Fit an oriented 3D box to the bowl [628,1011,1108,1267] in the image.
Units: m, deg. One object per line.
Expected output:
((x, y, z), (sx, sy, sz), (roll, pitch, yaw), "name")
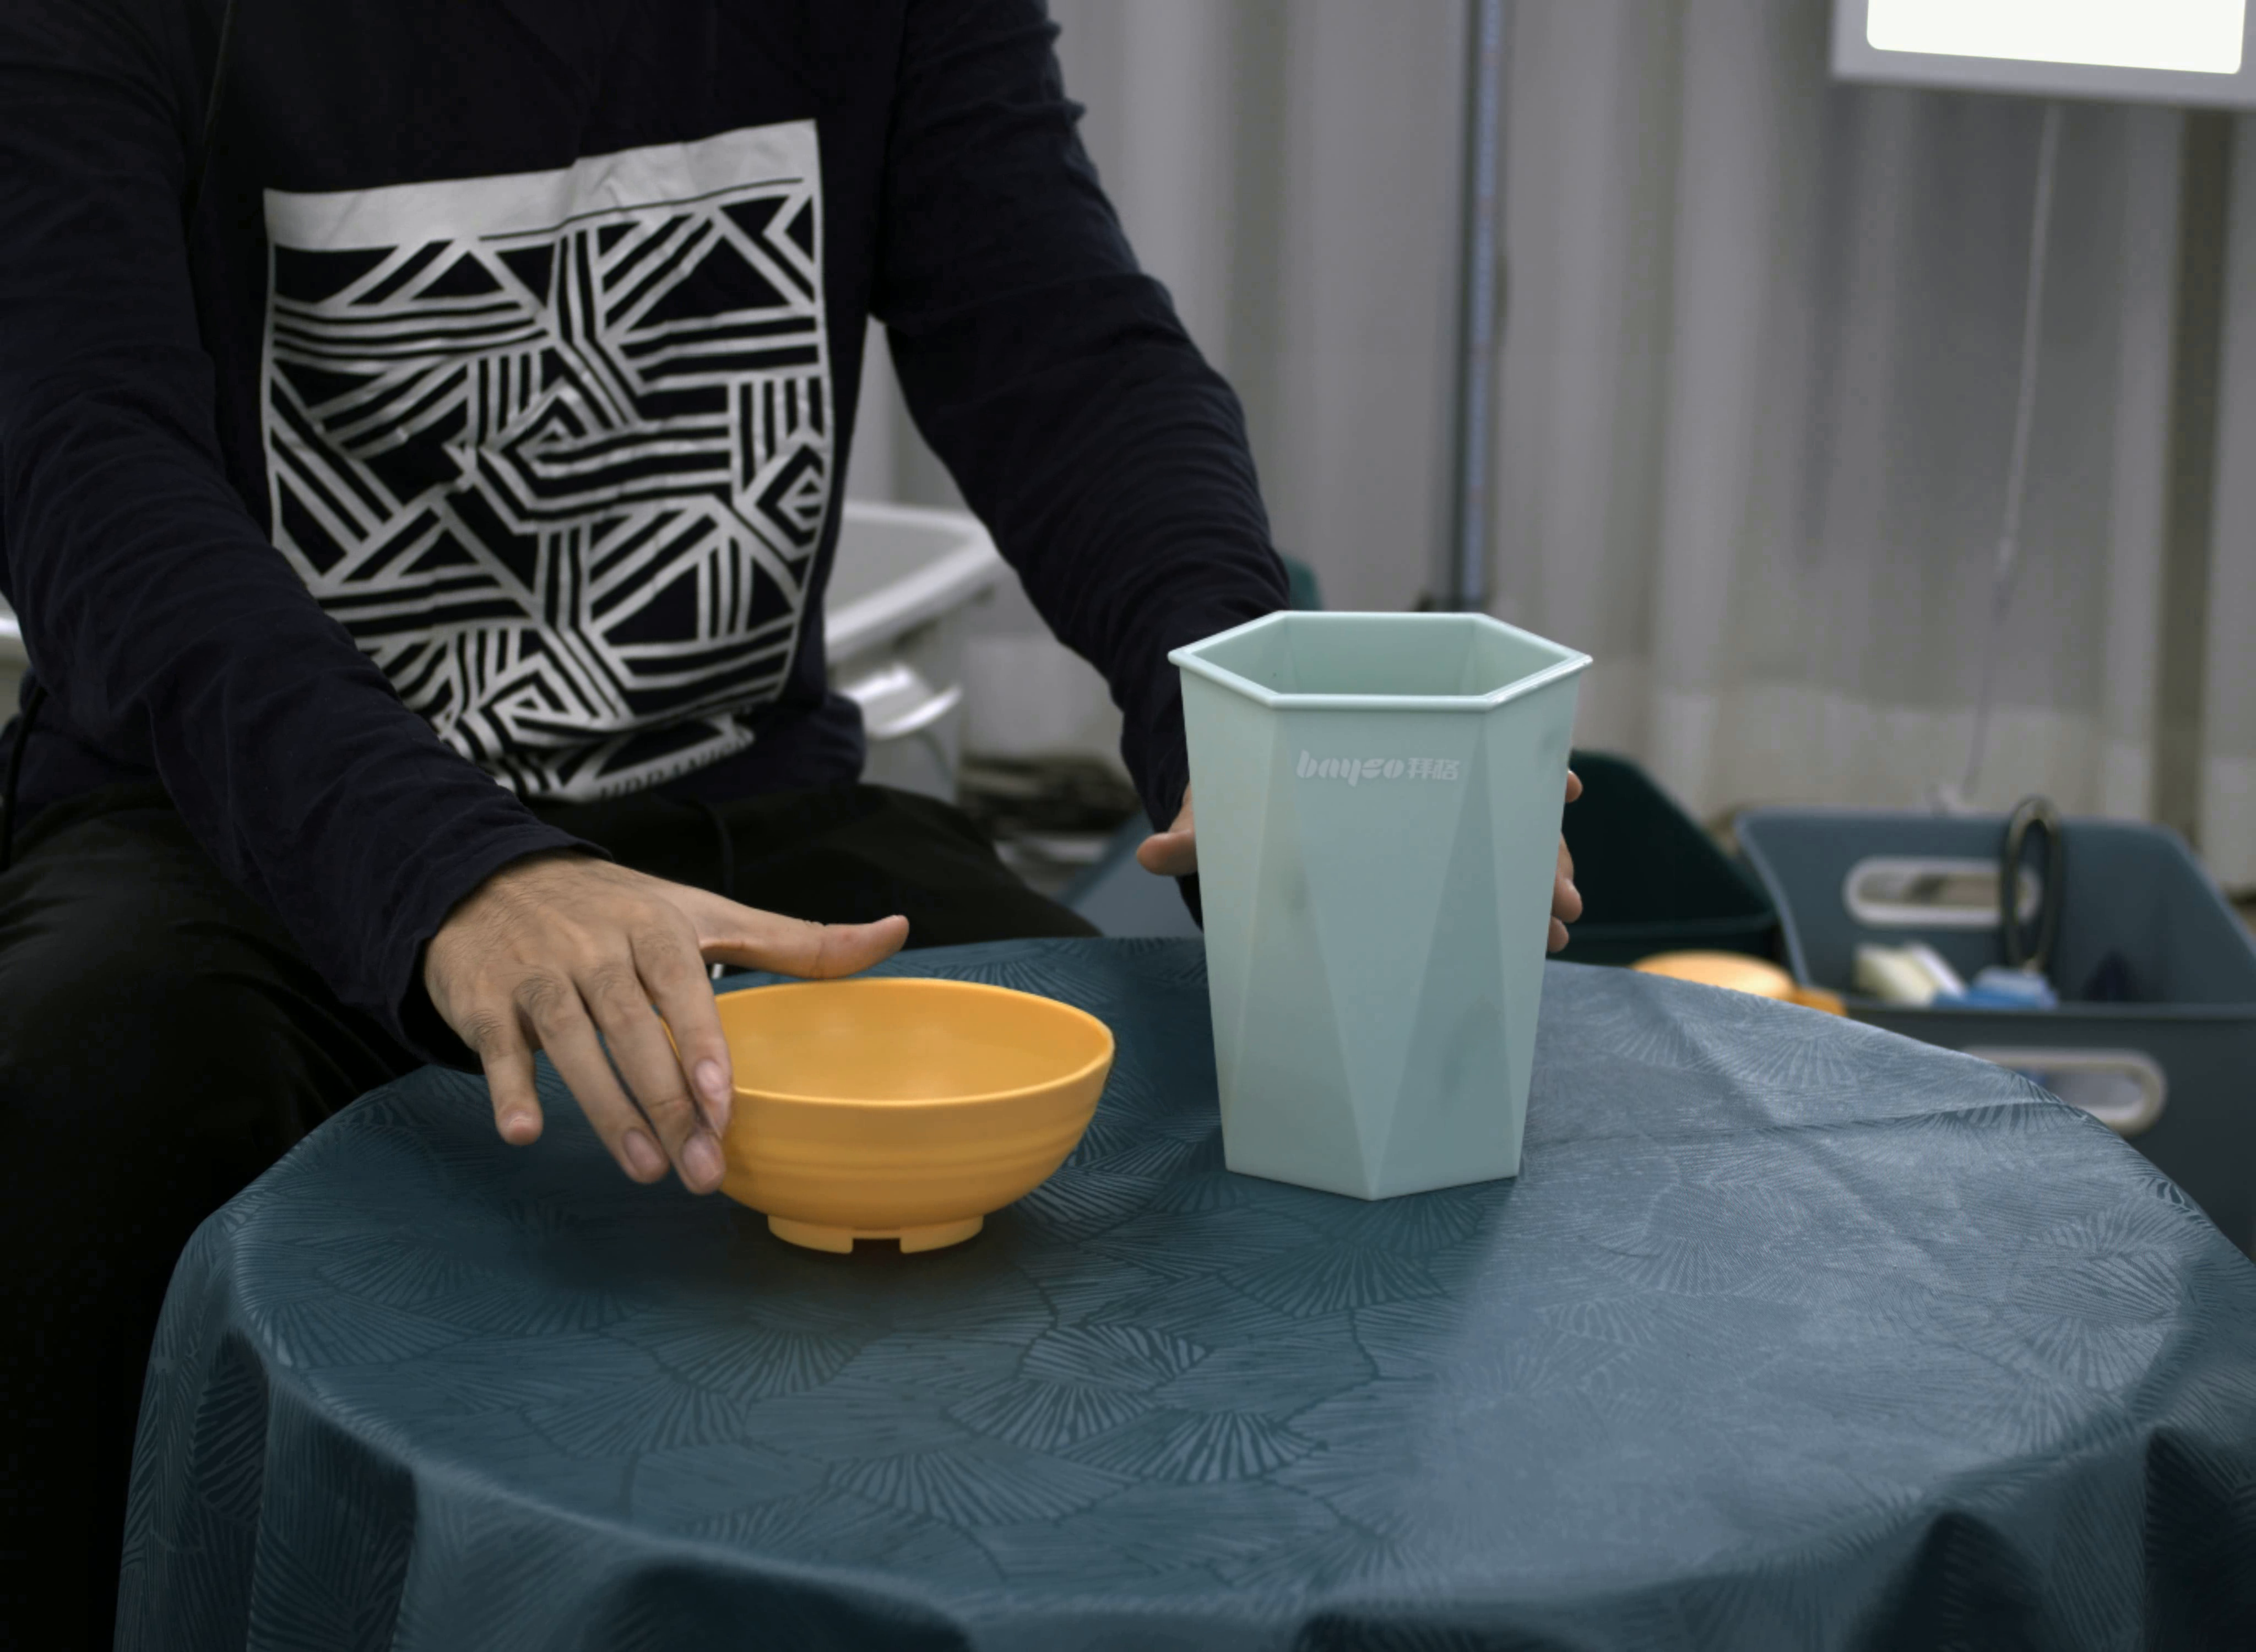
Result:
((-0.077, 0.097, 1.585), (0.145, 0.060, 0.145), (-1, 8, 1), "bowl")

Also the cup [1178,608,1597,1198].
((0.078, 0.024, 1.644), (0.130, 0.164, 0.114), (1, 14, -1), "cup")
